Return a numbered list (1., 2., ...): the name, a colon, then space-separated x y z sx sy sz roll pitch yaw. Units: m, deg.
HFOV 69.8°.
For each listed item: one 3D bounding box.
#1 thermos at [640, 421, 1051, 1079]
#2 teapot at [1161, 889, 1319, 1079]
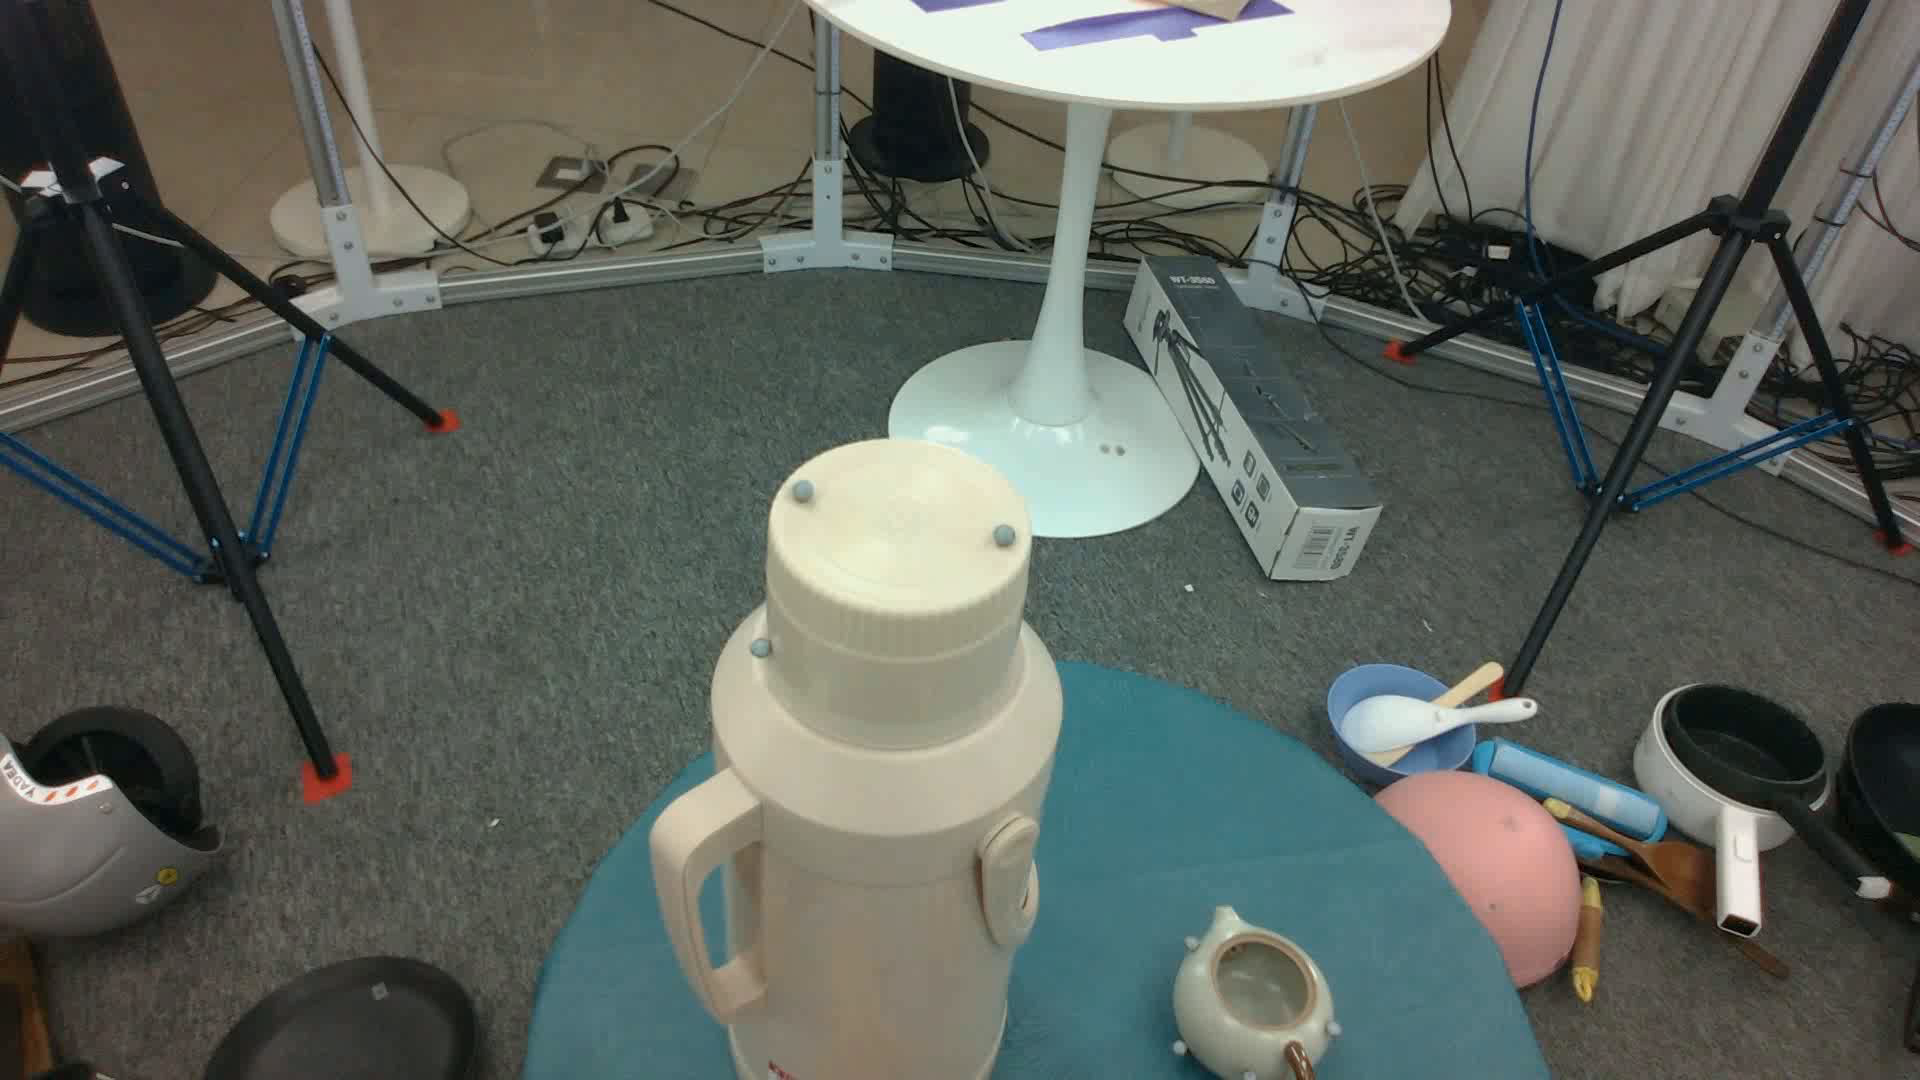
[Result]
1. thermos: -0.057 0.135 0.669 0.208 0.404 0.175 -29 55 -33
2. teapot: 0.167 0.269 0.800 0.092 0.059 0.128 -8 43 -20
